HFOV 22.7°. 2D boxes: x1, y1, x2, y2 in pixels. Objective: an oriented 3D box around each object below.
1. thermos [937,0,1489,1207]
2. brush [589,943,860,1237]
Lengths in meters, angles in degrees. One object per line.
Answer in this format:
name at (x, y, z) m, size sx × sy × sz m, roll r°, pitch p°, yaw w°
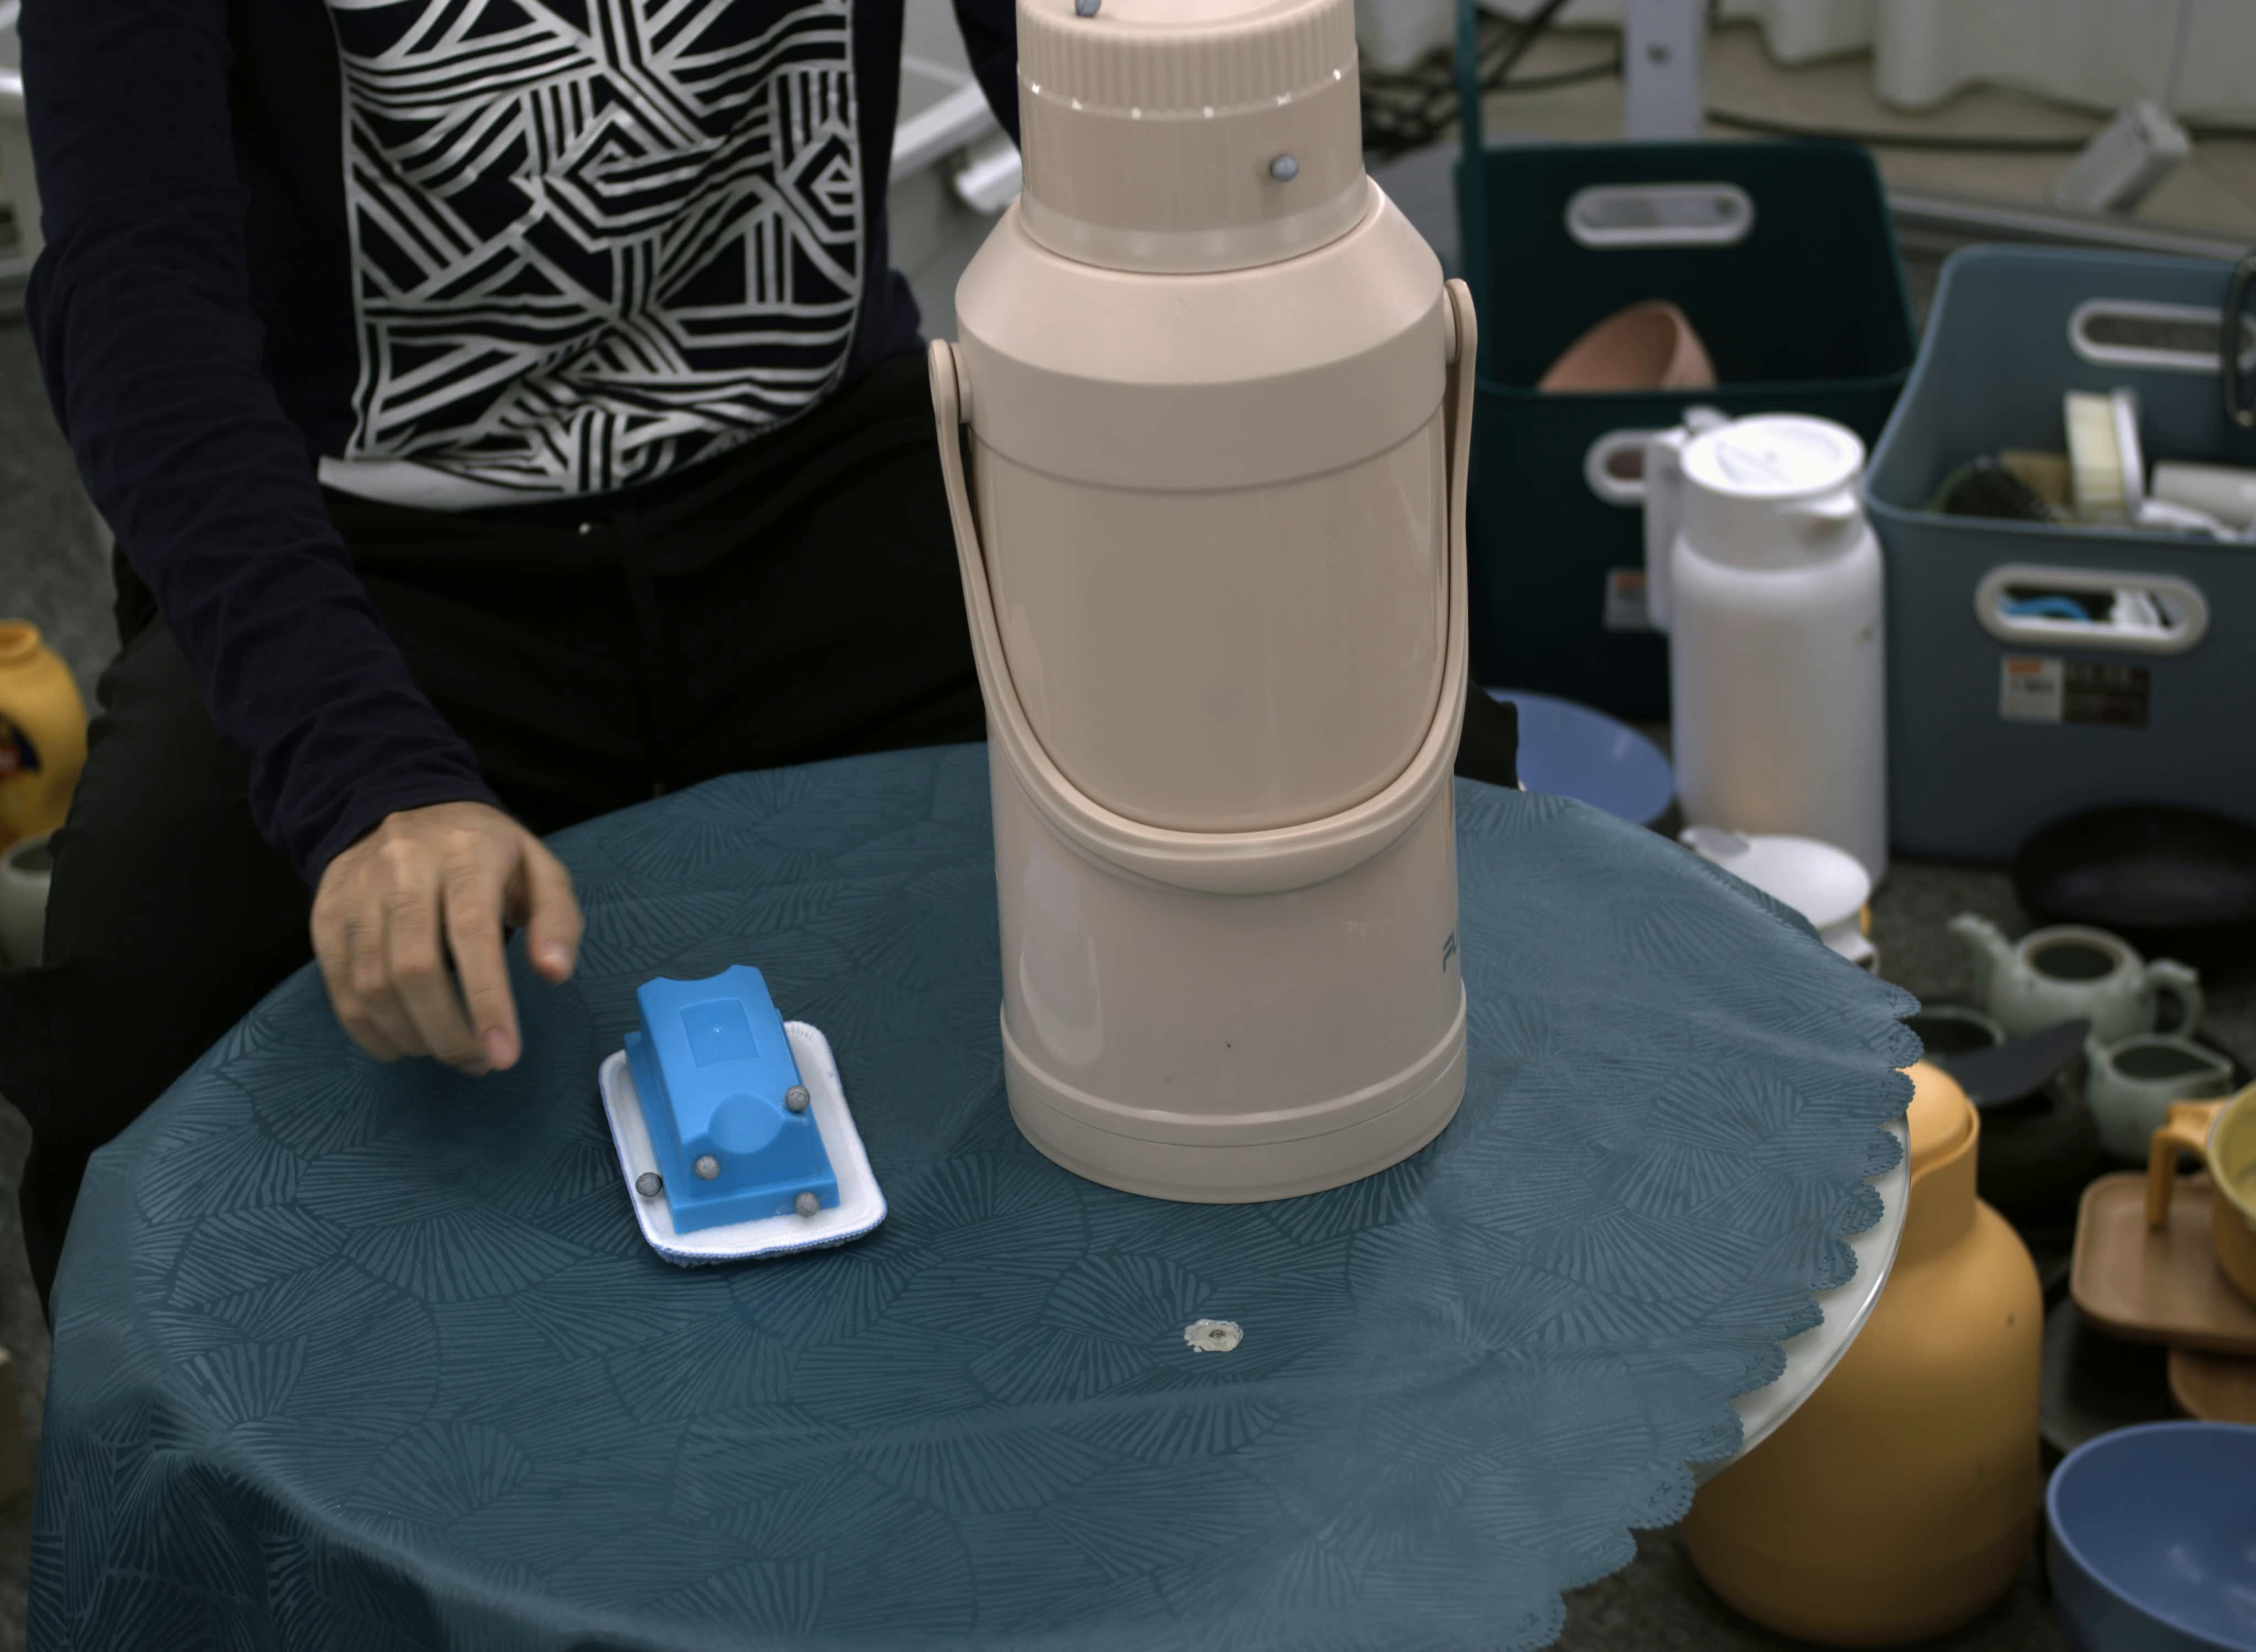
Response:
thermos at (0.030, -0.093, 1.846) m, size 0.175 × 0.402 × 0.209 m, roll -9°, pitch 26°, yaw -8°
brush at (-0.135, 0.084, 1.880) m, size 0.084 × 0.055 × 0.146 m, roll -5°, pitch 30°, yaw -9°
